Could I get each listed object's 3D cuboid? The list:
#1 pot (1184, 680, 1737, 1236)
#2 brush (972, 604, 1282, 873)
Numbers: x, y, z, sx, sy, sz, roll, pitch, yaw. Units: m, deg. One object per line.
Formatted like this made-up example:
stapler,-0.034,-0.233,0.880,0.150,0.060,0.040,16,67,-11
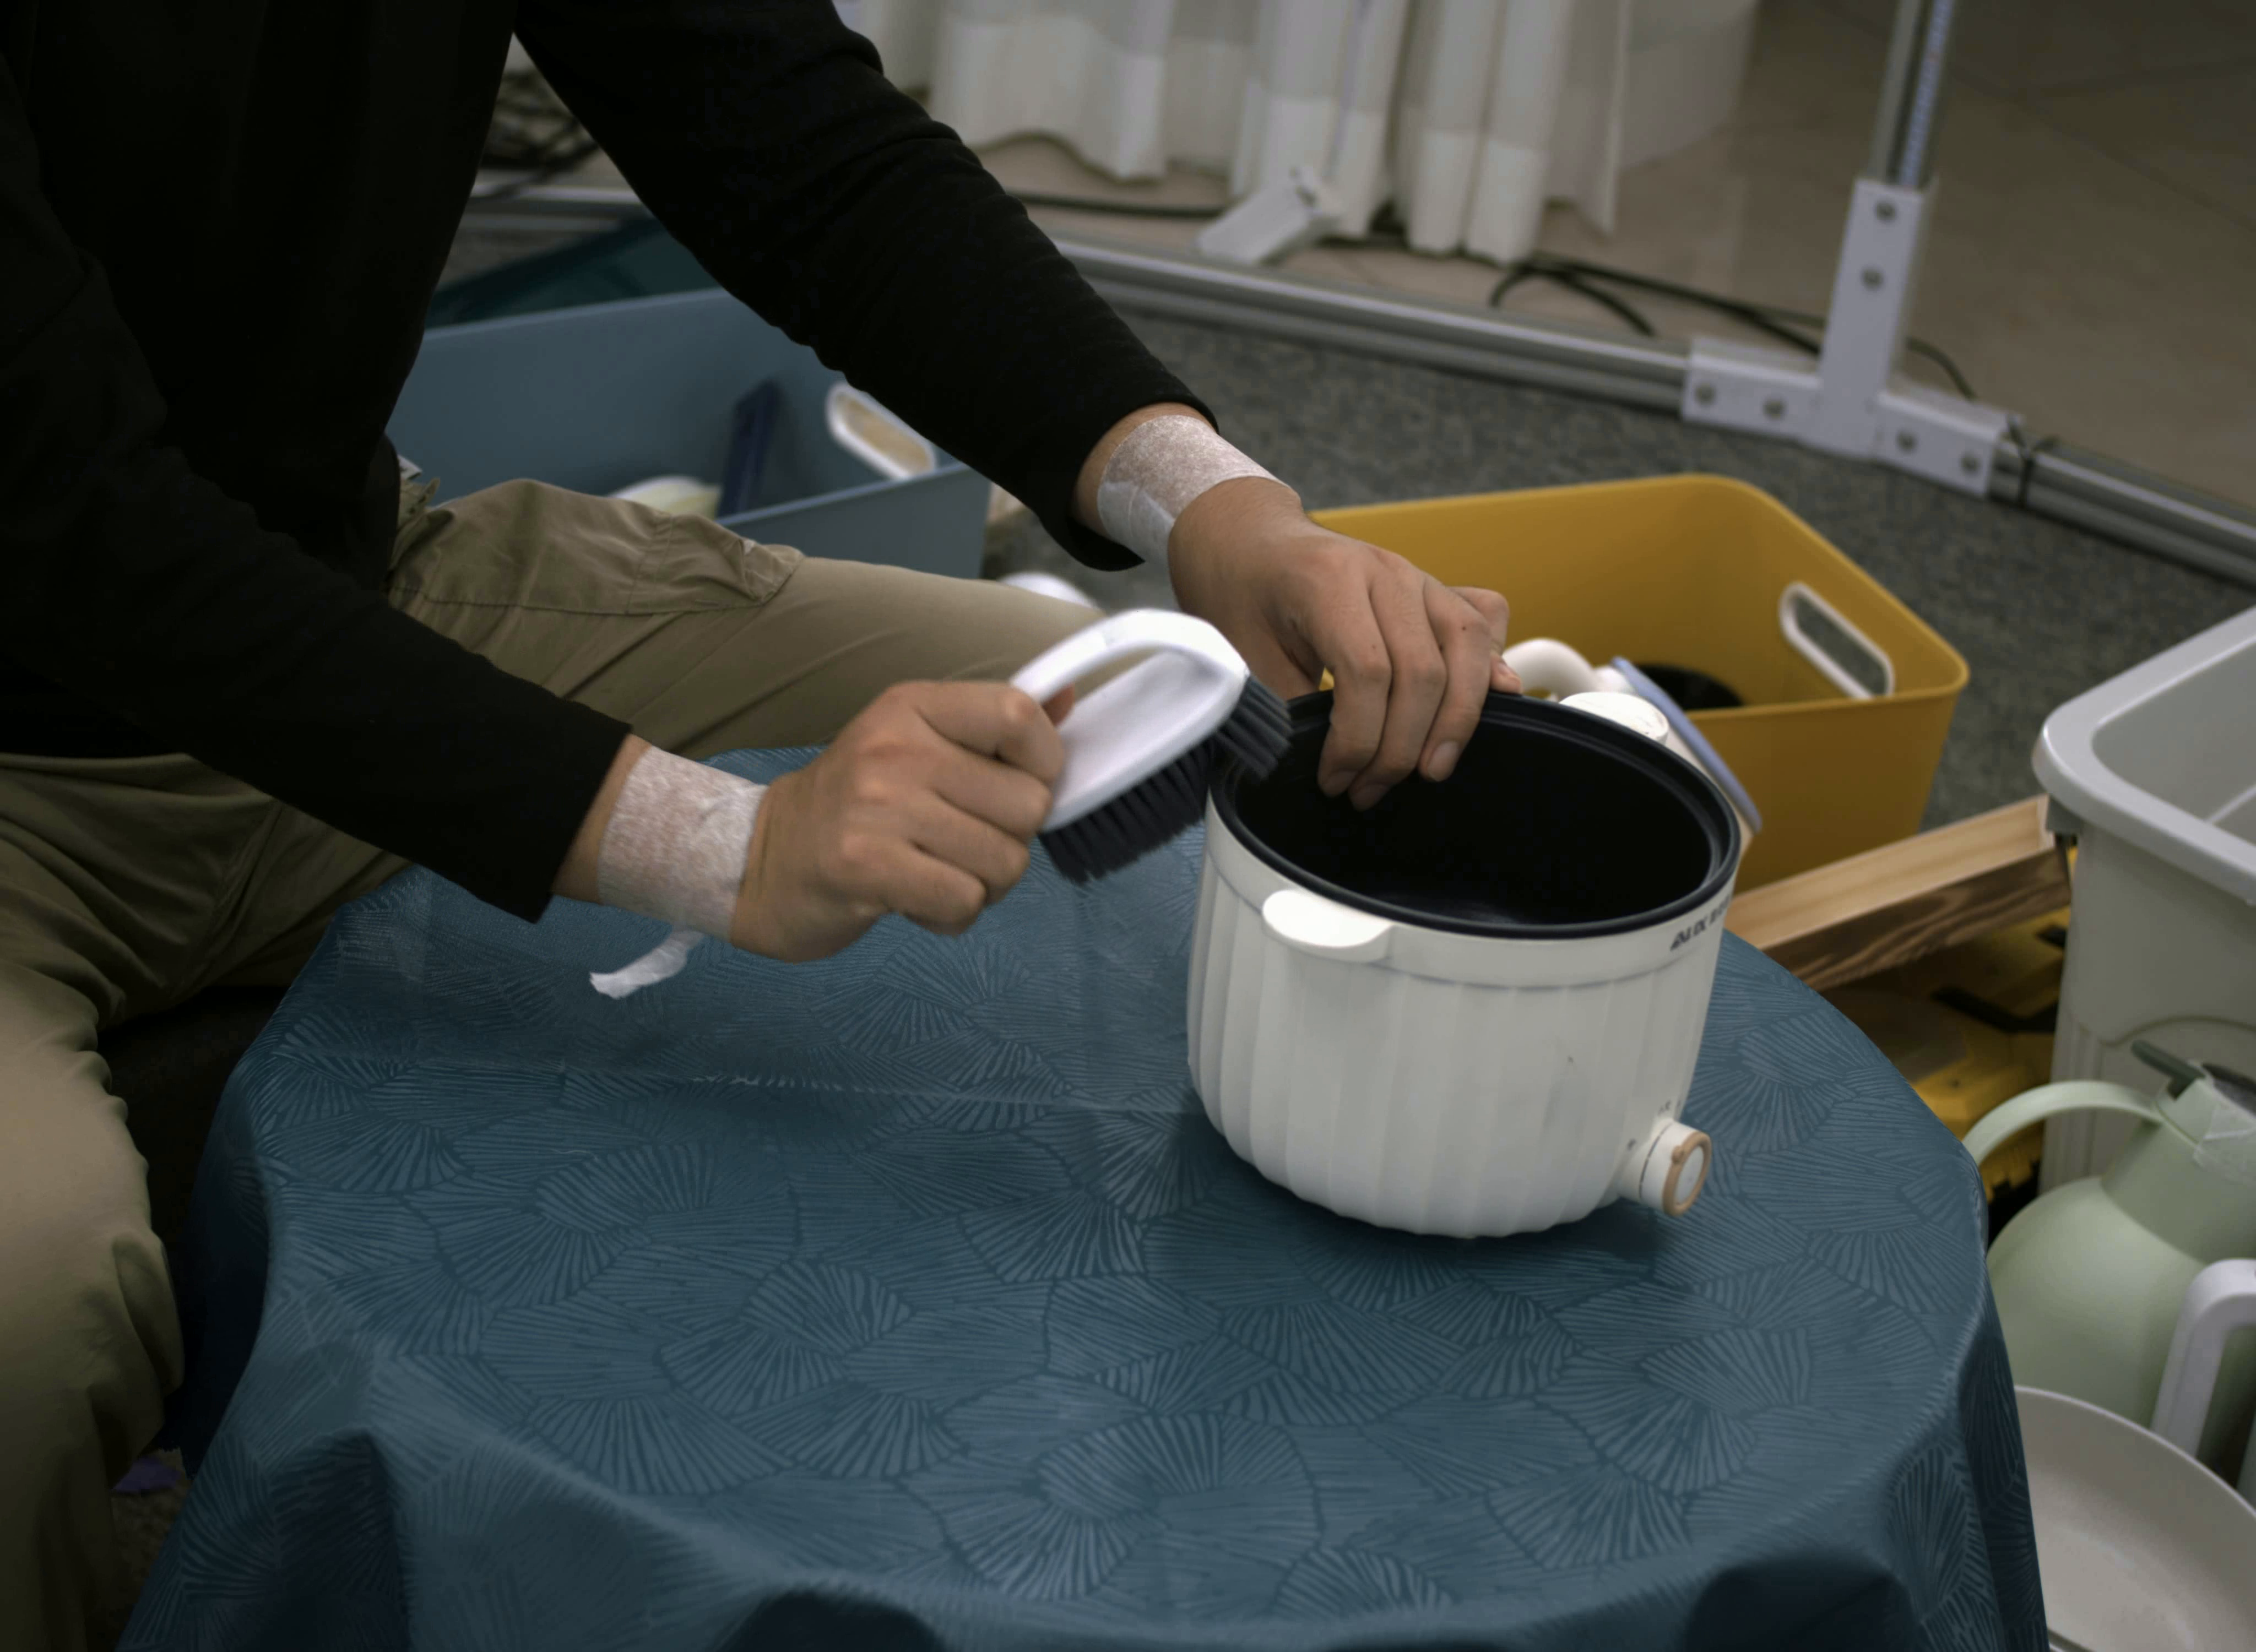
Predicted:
pot,0.114,0.051,1.818,0.191,0.142,0.240,18,30,27
brush,-0.008,-0.036,1.804,0.099,0.072,0.050,-32,34,16
